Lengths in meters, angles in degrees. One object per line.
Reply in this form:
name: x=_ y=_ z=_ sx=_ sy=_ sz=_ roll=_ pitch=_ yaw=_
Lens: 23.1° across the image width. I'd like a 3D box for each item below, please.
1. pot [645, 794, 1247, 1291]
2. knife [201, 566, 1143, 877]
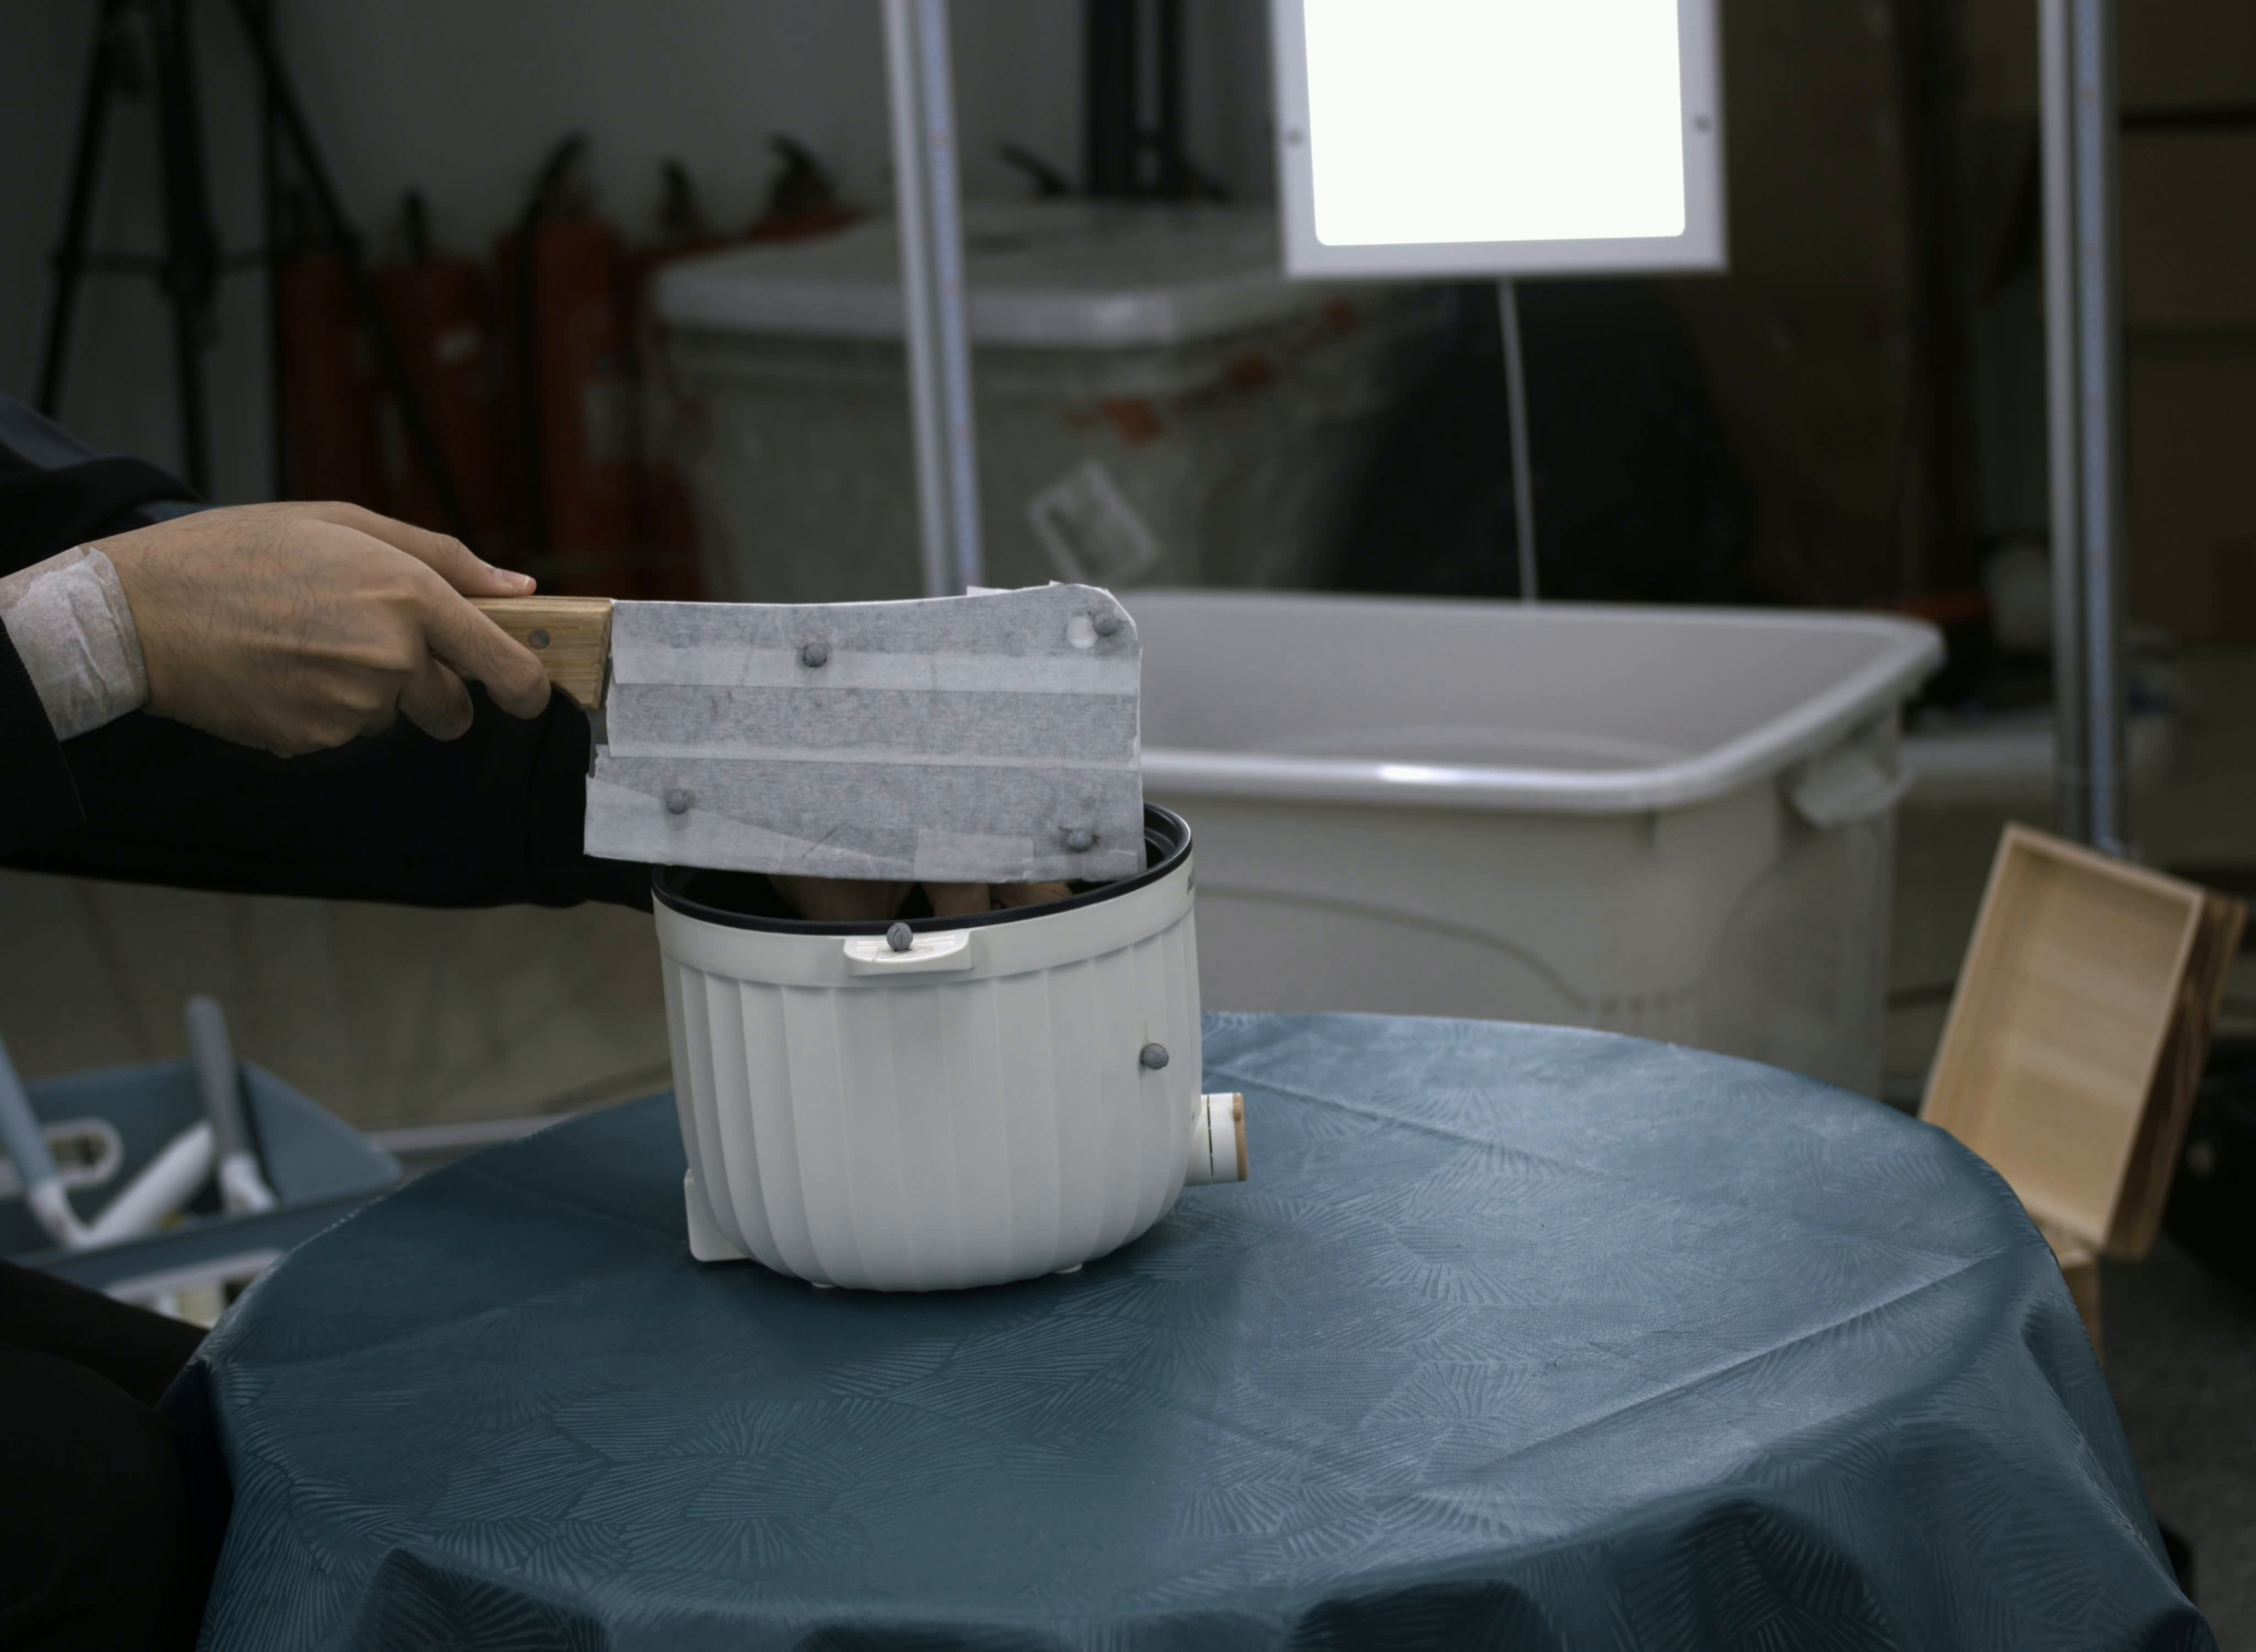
pot: x=-0.060 y=0.072 z=1.849 sx=0.190 sy=0.143 sz=0.239 roll=-7 pitch=15 yaw=4
knife: x=-0.146 y=-0.040 z=1.807 sx=0.314 sy=0.114 sz=0.022 roll=5 pitch=9 yaw=-2
